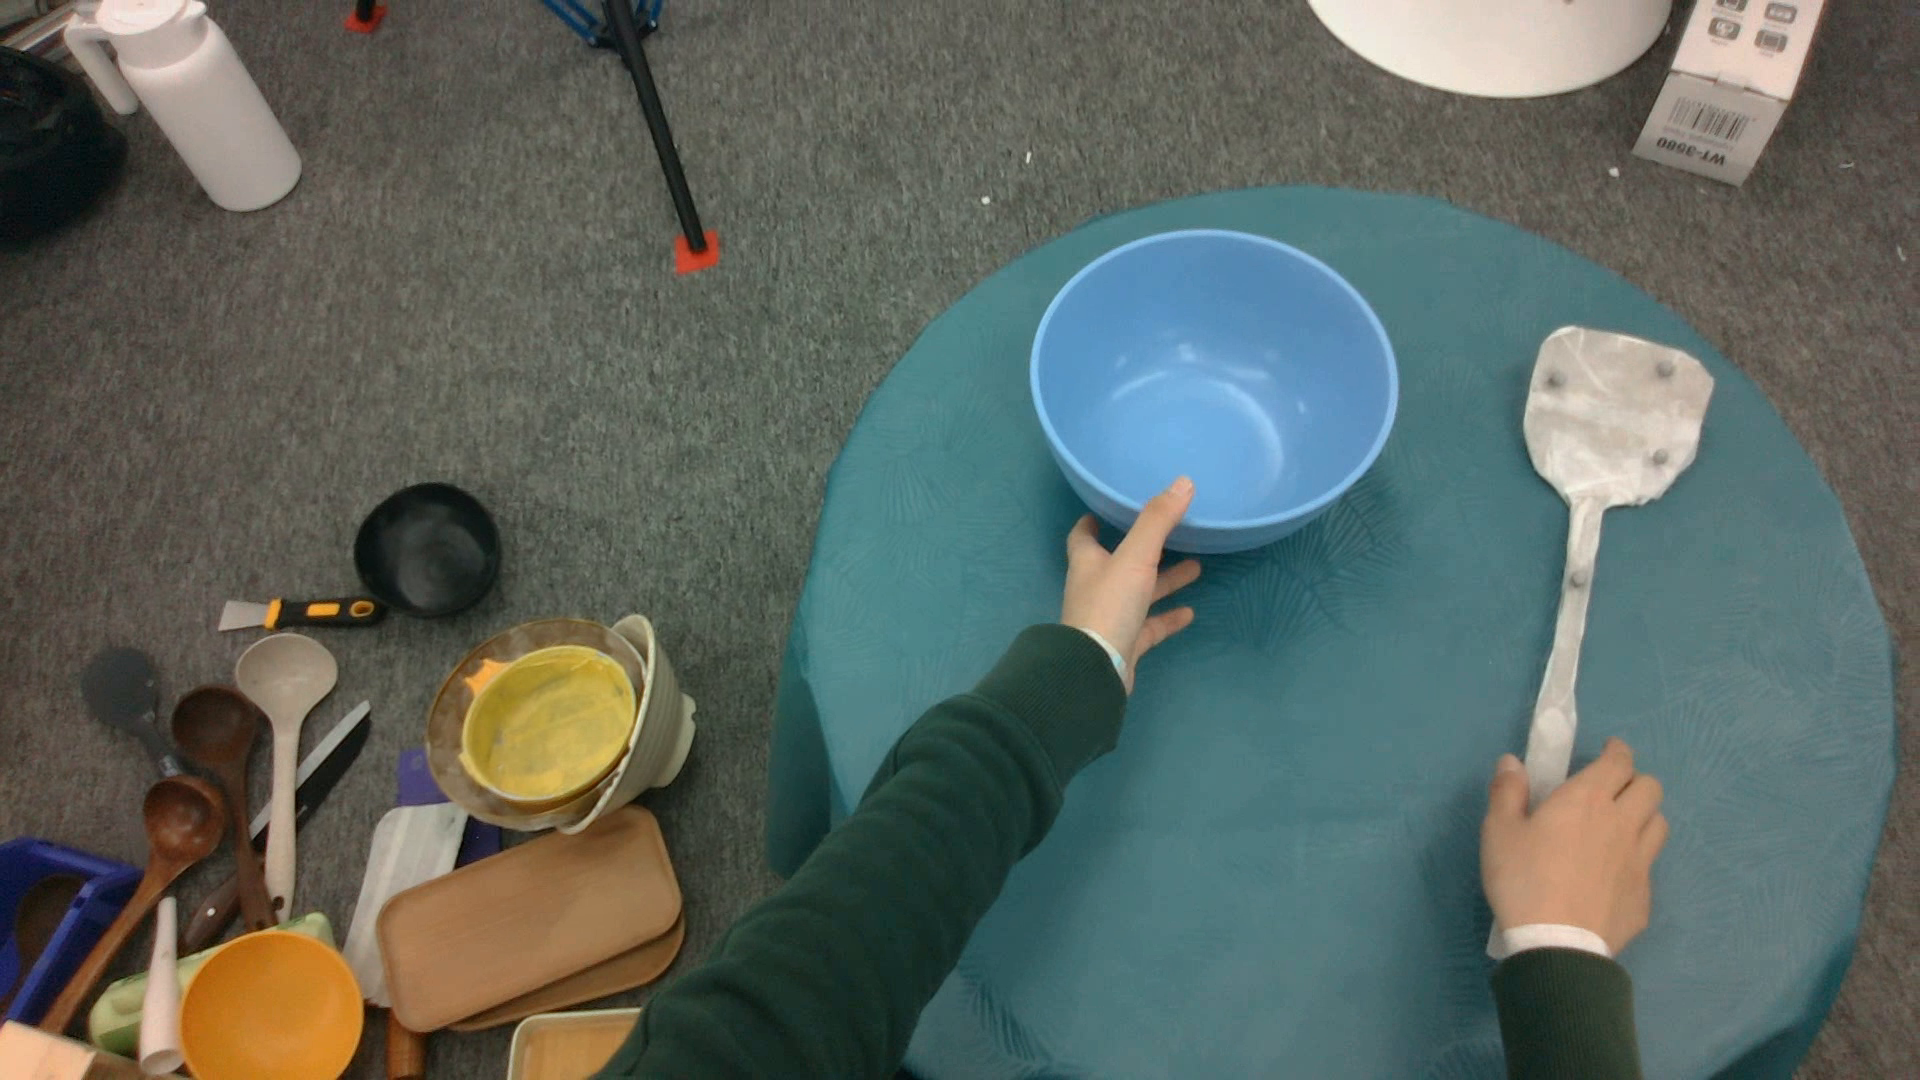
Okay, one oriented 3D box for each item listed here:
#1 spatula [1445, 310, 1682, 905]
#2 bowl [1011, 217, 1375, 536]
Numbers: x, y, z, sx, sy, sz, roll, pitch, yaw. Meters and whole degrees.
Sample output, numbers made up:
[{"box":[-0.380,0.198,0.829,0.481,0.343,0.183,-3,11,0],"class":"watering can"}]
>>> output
[{"box":[0.318,0.027,0.752,0.098,0.044,0.366,19,62,9],"class":"spatula"},{"box":[0.126,-0.078,0.783,0.196,0.095,0.197,0,60,-1],"class":"bowl"}]
